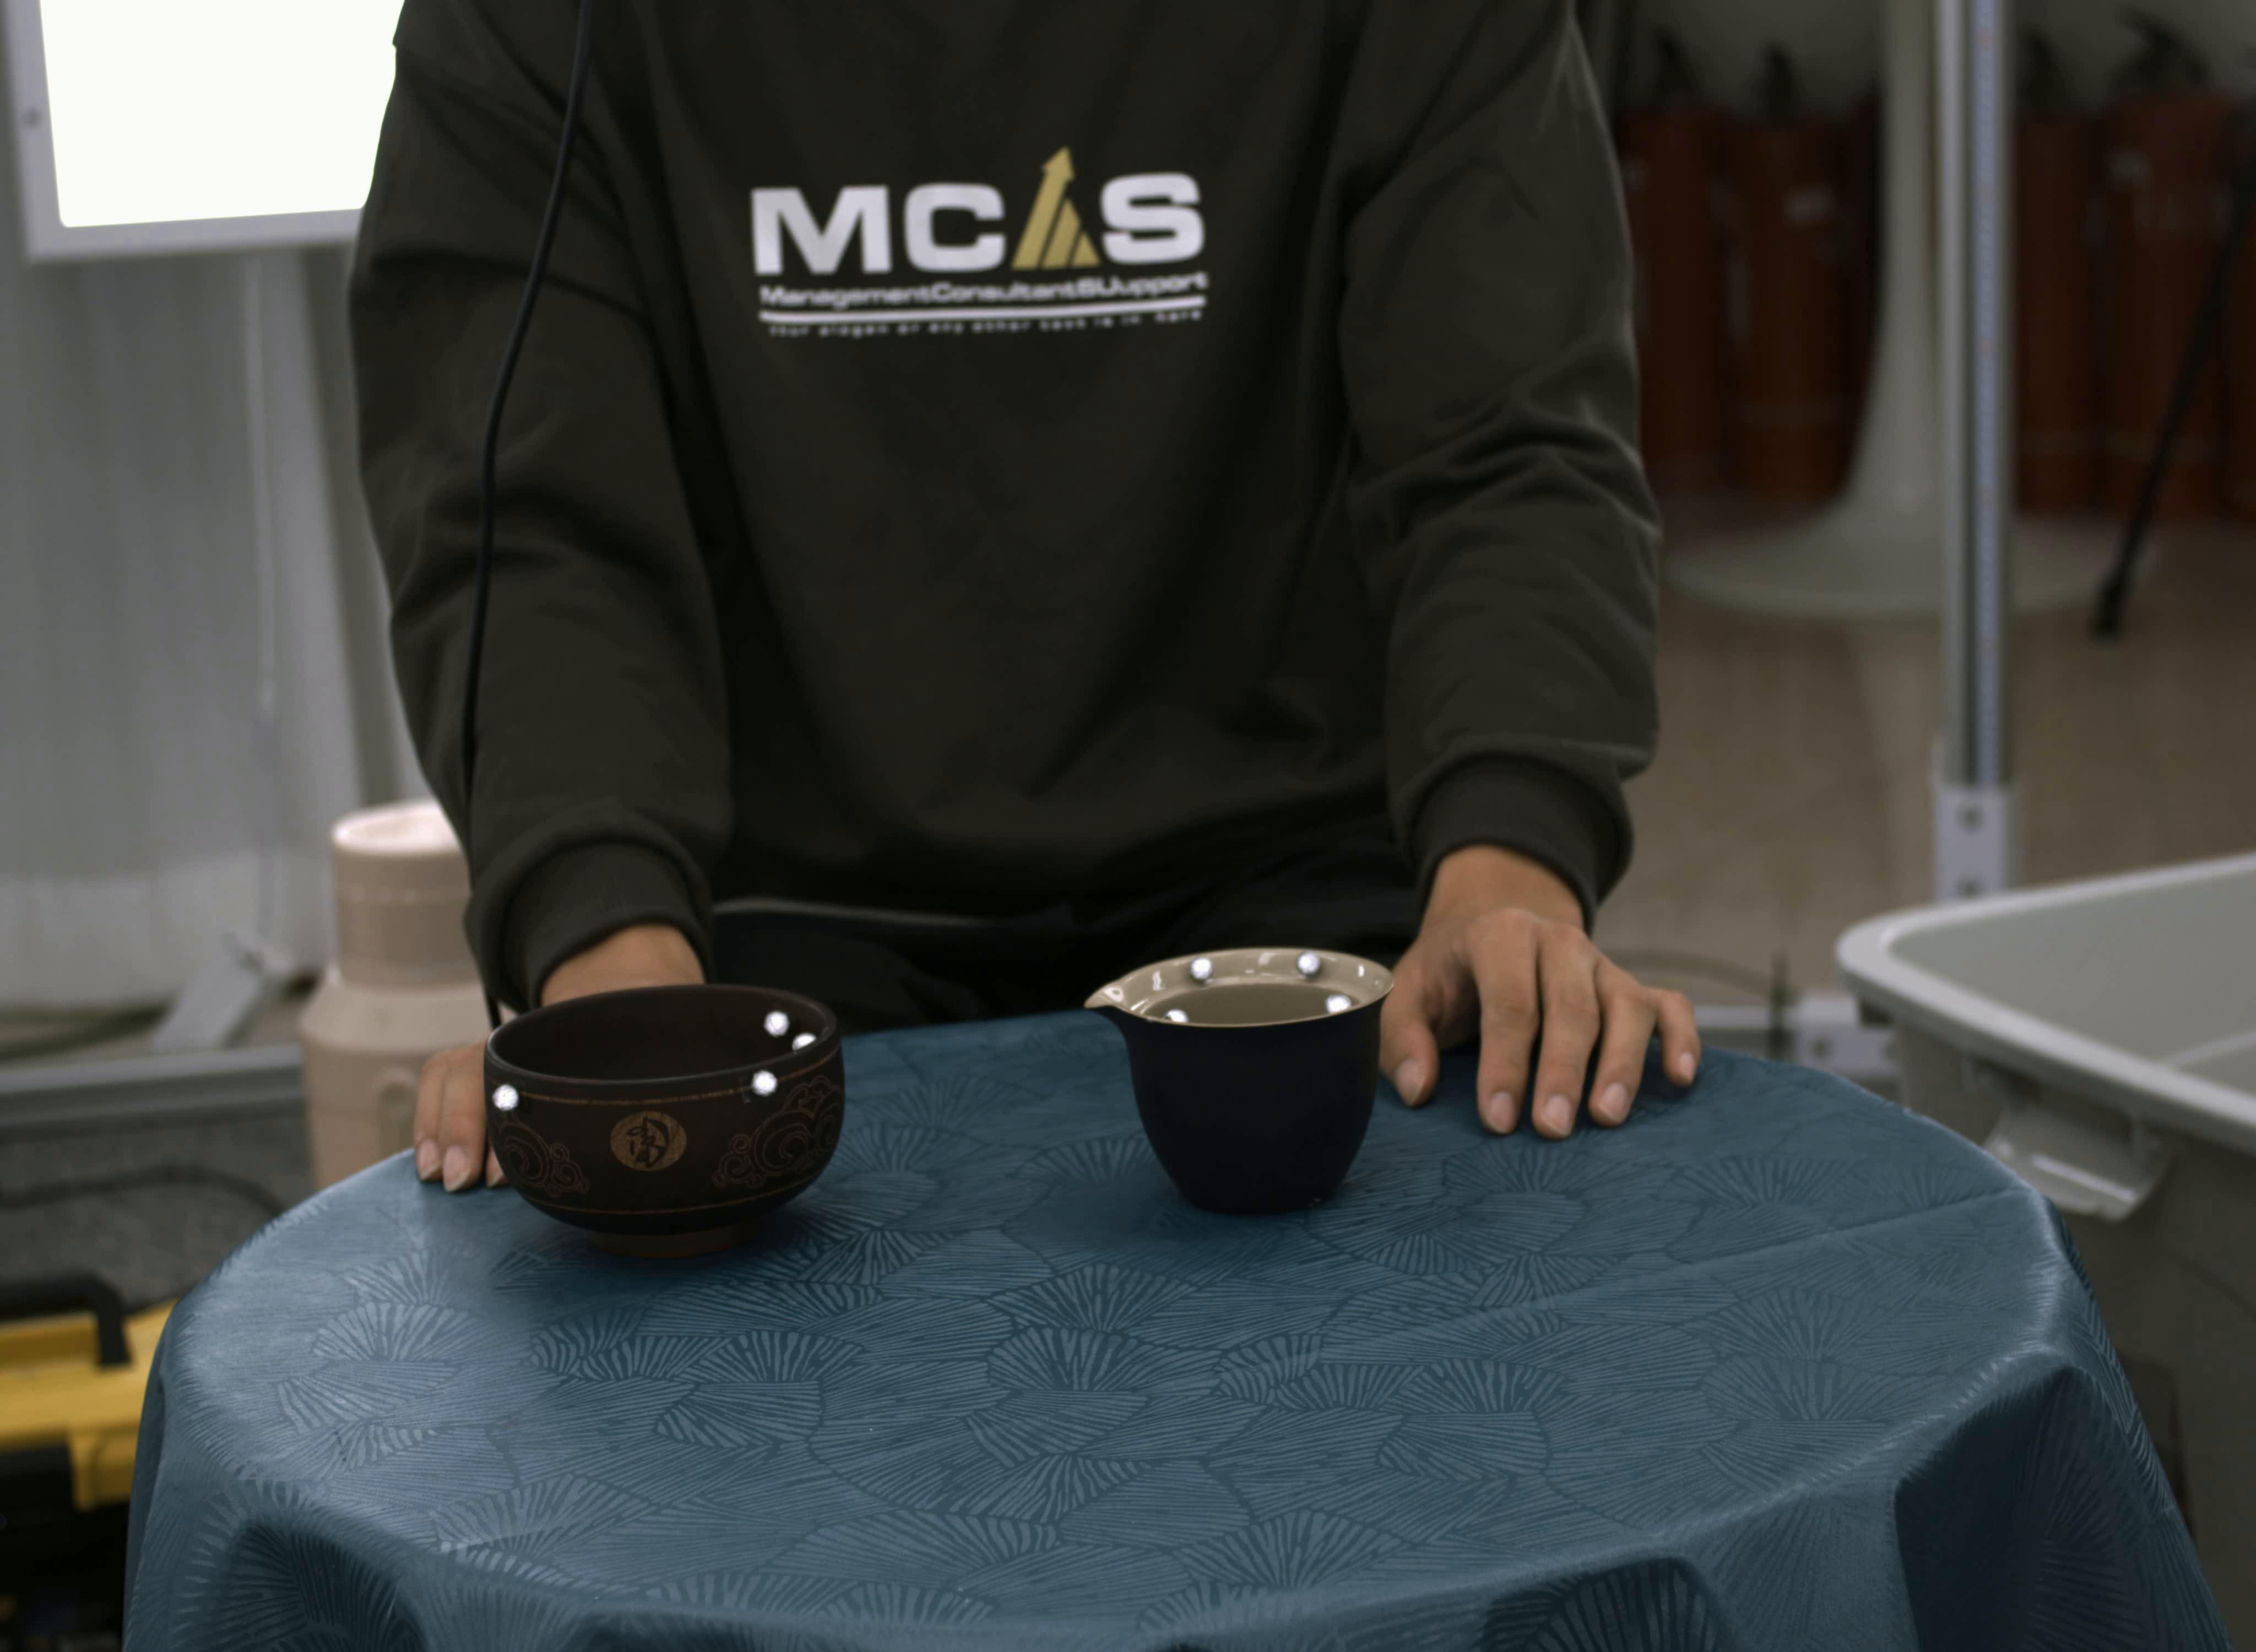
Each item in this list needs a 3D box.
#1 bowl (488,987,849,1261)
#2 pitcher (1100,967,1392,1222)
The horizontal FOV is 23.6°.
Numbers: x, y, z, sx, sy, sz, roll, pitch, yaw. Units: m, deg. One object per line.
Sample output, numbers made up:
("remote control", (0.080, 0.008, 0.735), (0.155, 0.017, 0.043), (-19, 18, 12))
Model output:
("bowl", (-0.147, 0.100, 1.753), (0.116, 0.070, 0.118), (-4, 11, 0))
("pitcher", (0.041, 0.087, 1.755), (0.095, 0.072, 0.083), (-3, 15, 8))
